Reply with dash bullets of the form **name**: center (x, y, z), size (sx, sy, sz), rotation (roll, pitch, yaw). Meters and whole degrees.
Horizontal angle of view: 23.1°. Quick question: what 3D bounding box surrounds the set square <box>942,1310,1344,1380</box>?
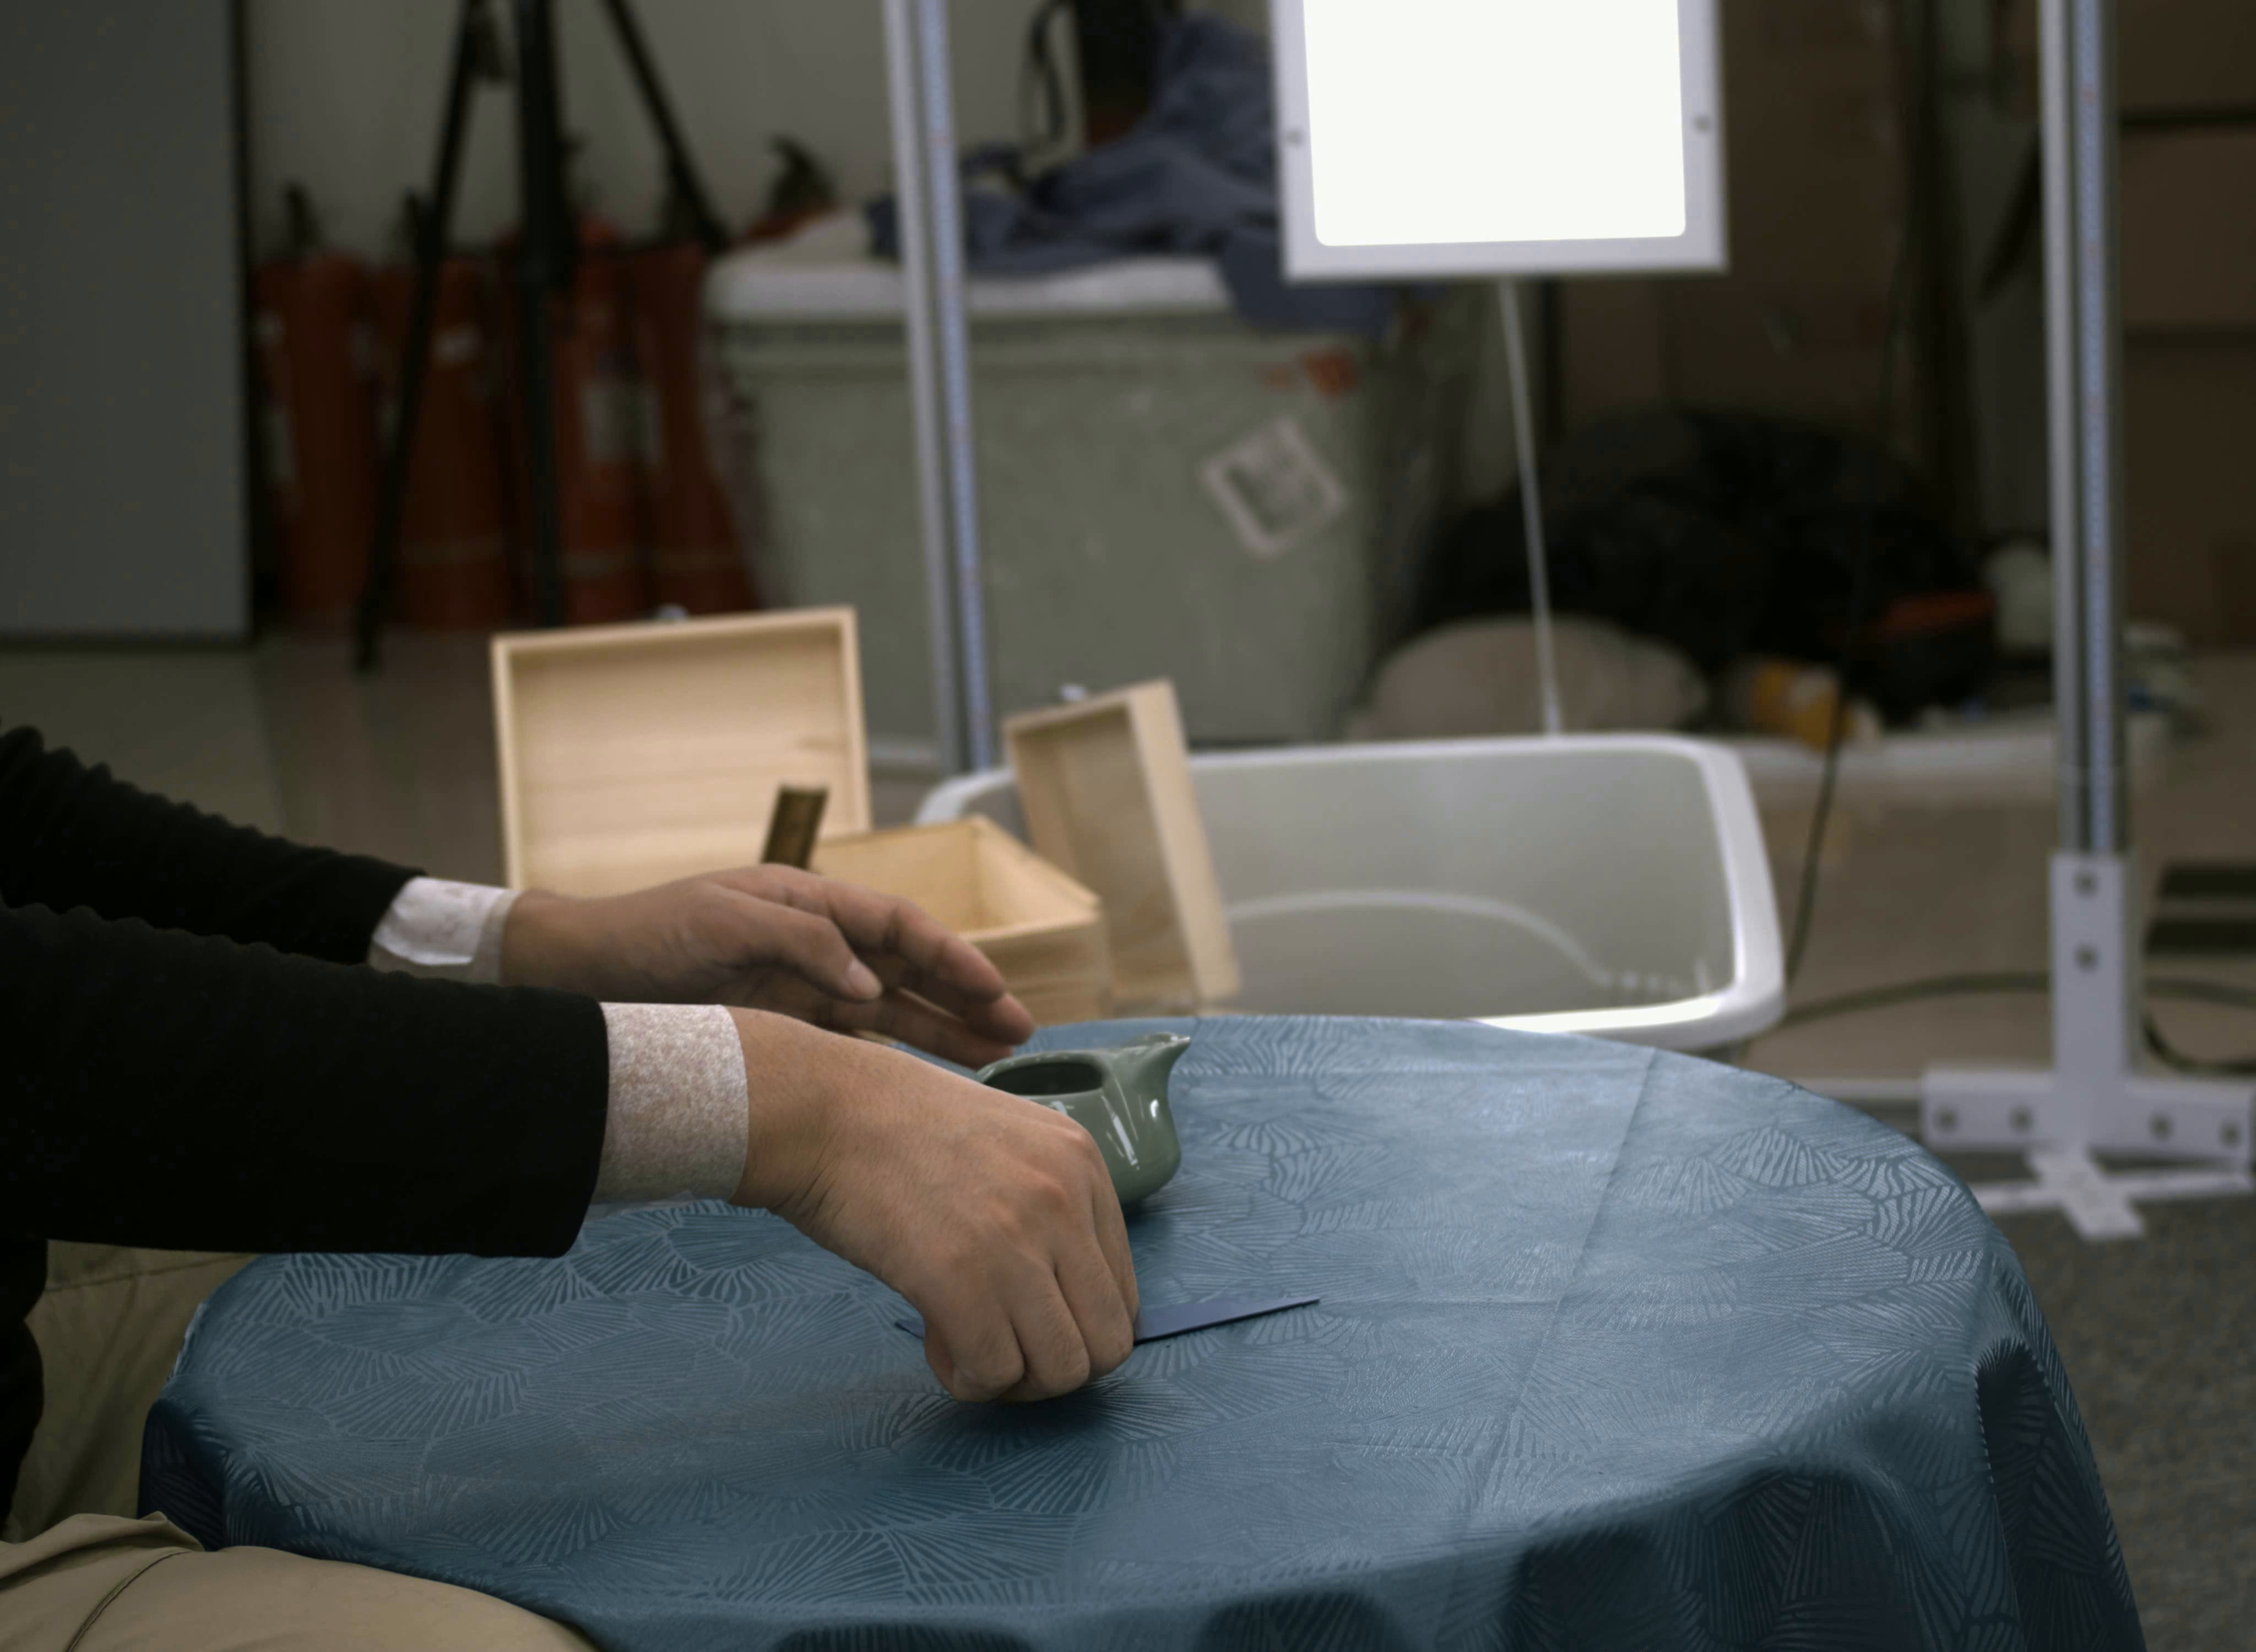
- **set square**: center (0.002, 0.163, 1.741), size (0.133, 0.006, 0.060), rotation (-2, 13, 10)

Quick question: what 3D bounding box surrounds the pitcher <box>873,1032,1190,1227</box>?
- **pitcher**: center (-0.031, 0.104, 1.884), size (0.111, 0.056, 0.085), rotation (-7, 12, -9)
